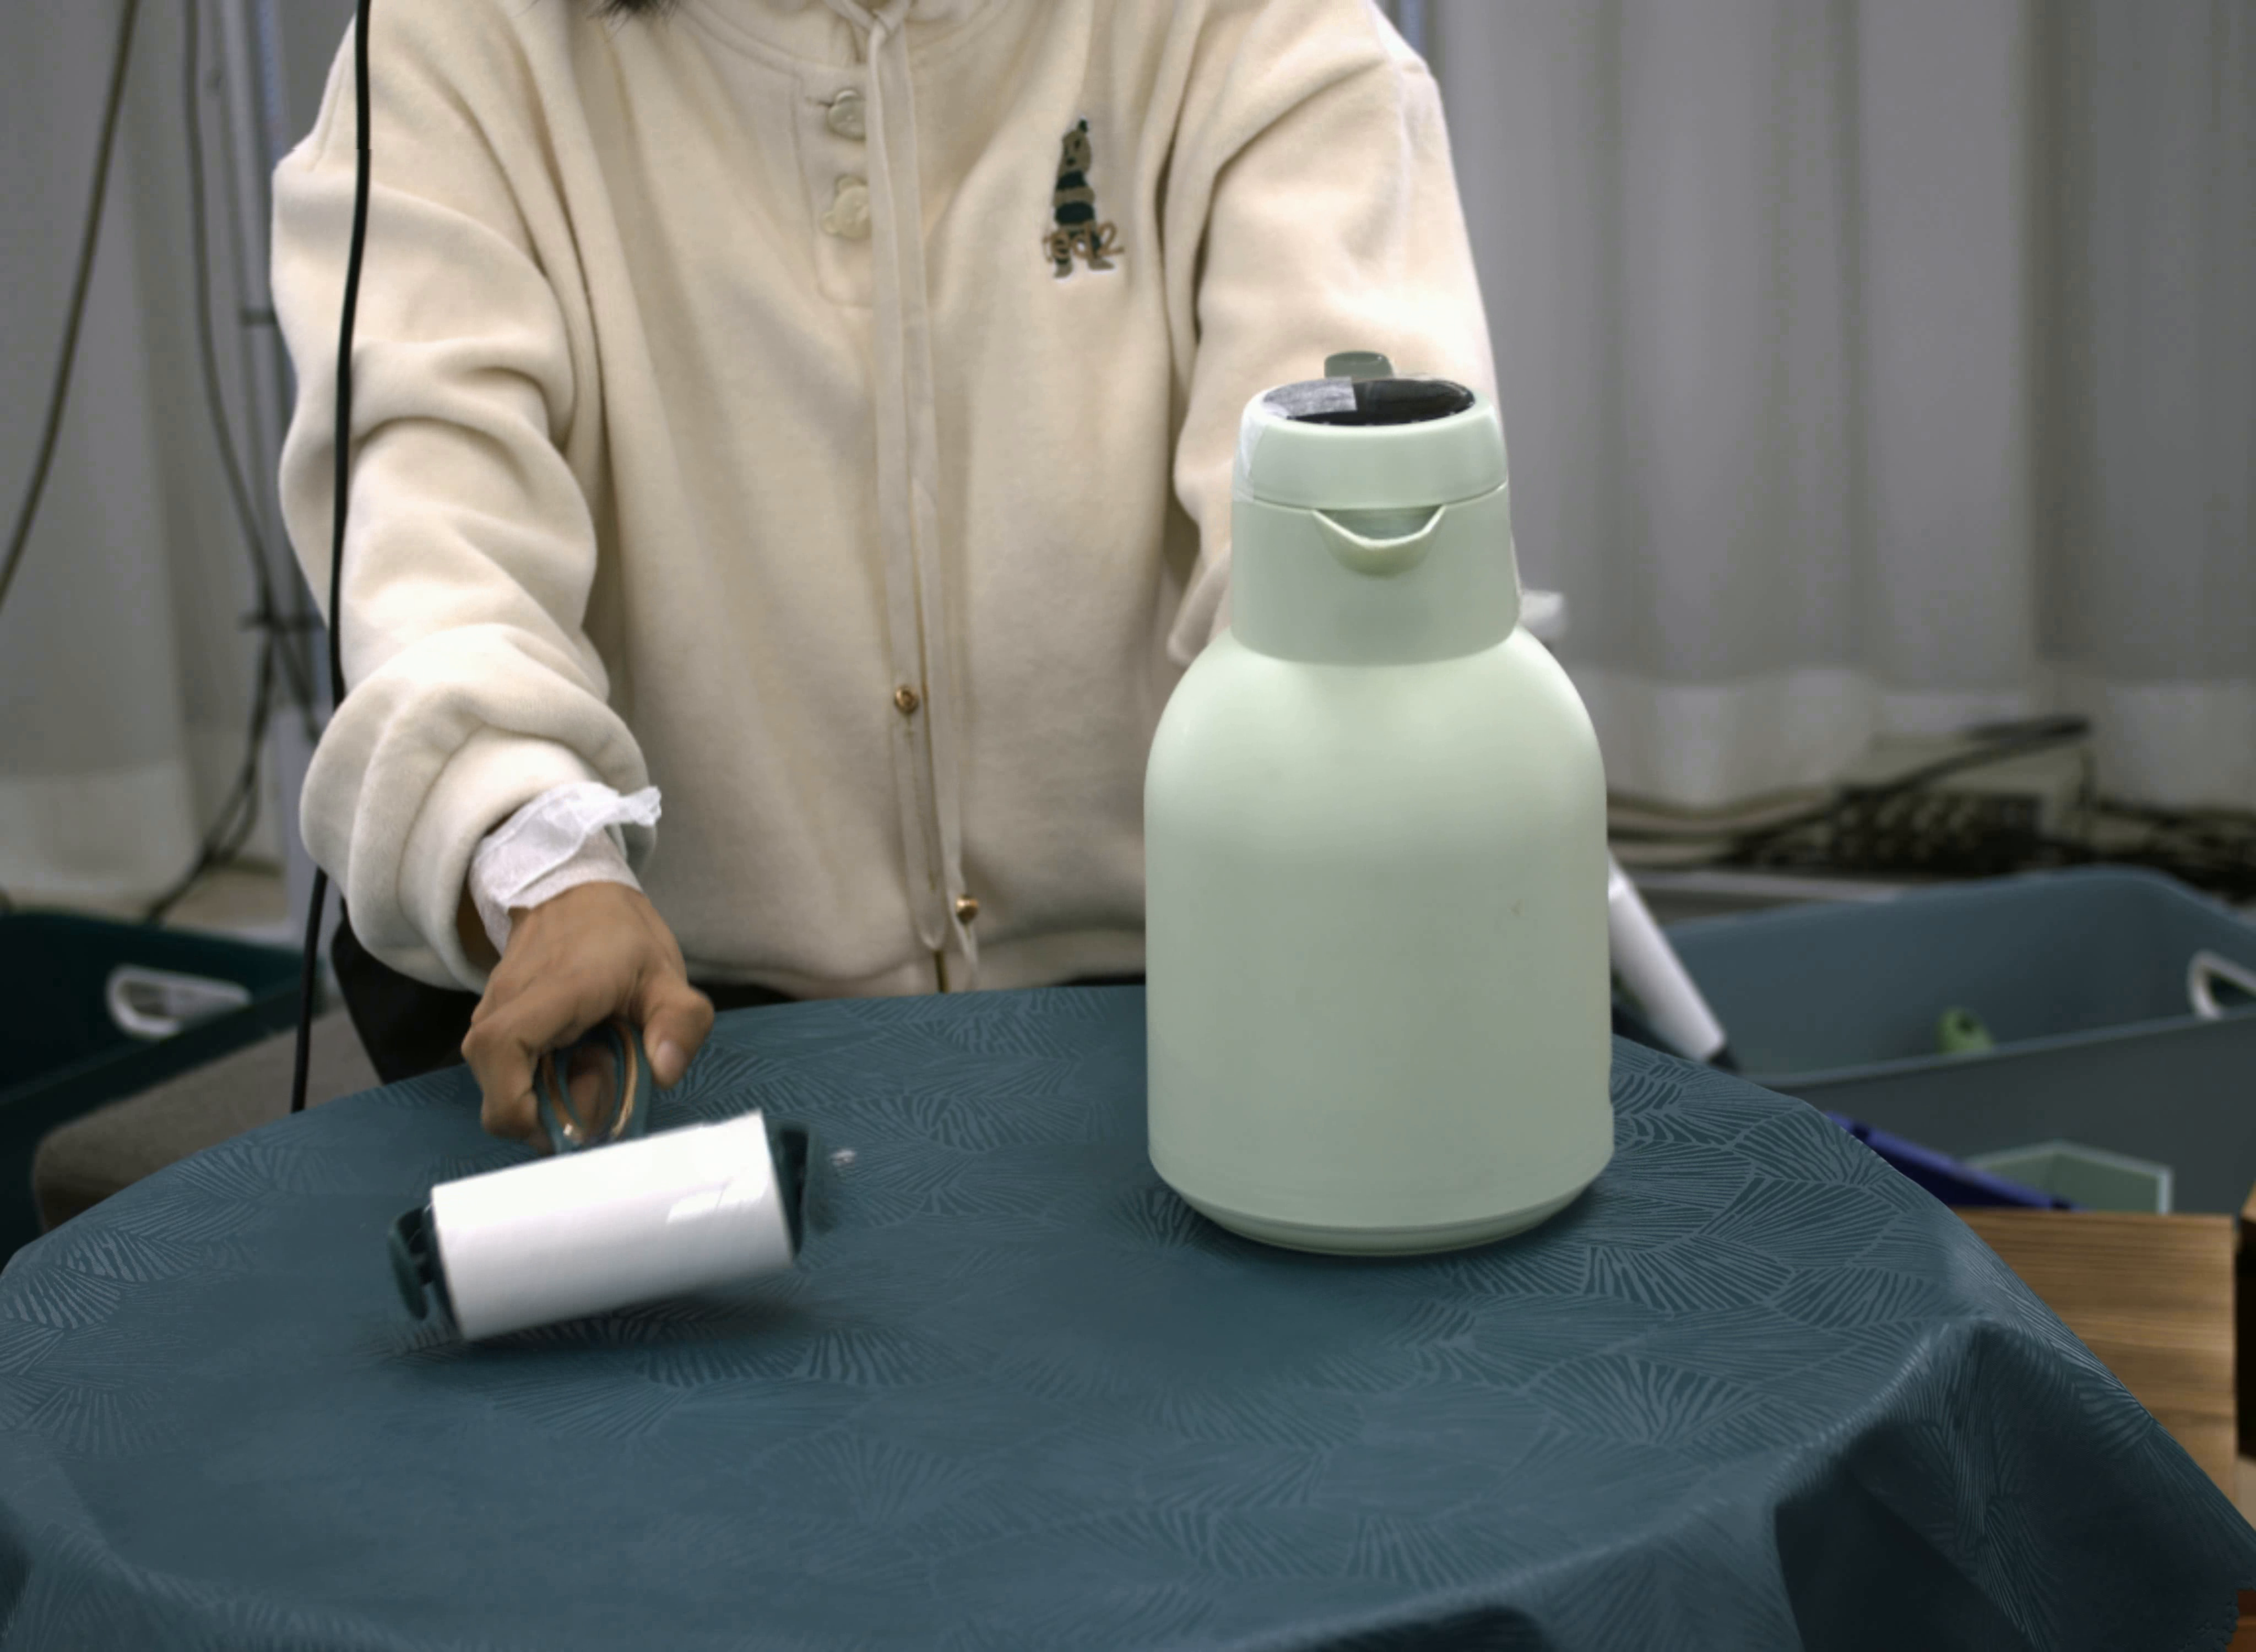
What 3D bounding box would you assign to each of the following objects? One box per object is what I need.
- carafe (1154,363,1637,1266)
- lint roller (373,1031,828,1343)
[{"bbox_3d":[0.078,-0.009,1.676,0.144,0.256,0.188,-4,12,0],"label":"carafe"},{"bbox_3d":[-0.163,0.090,1.664,0.134,0.048,0.182,-9,28,-4],"label":"lint roller"}]
